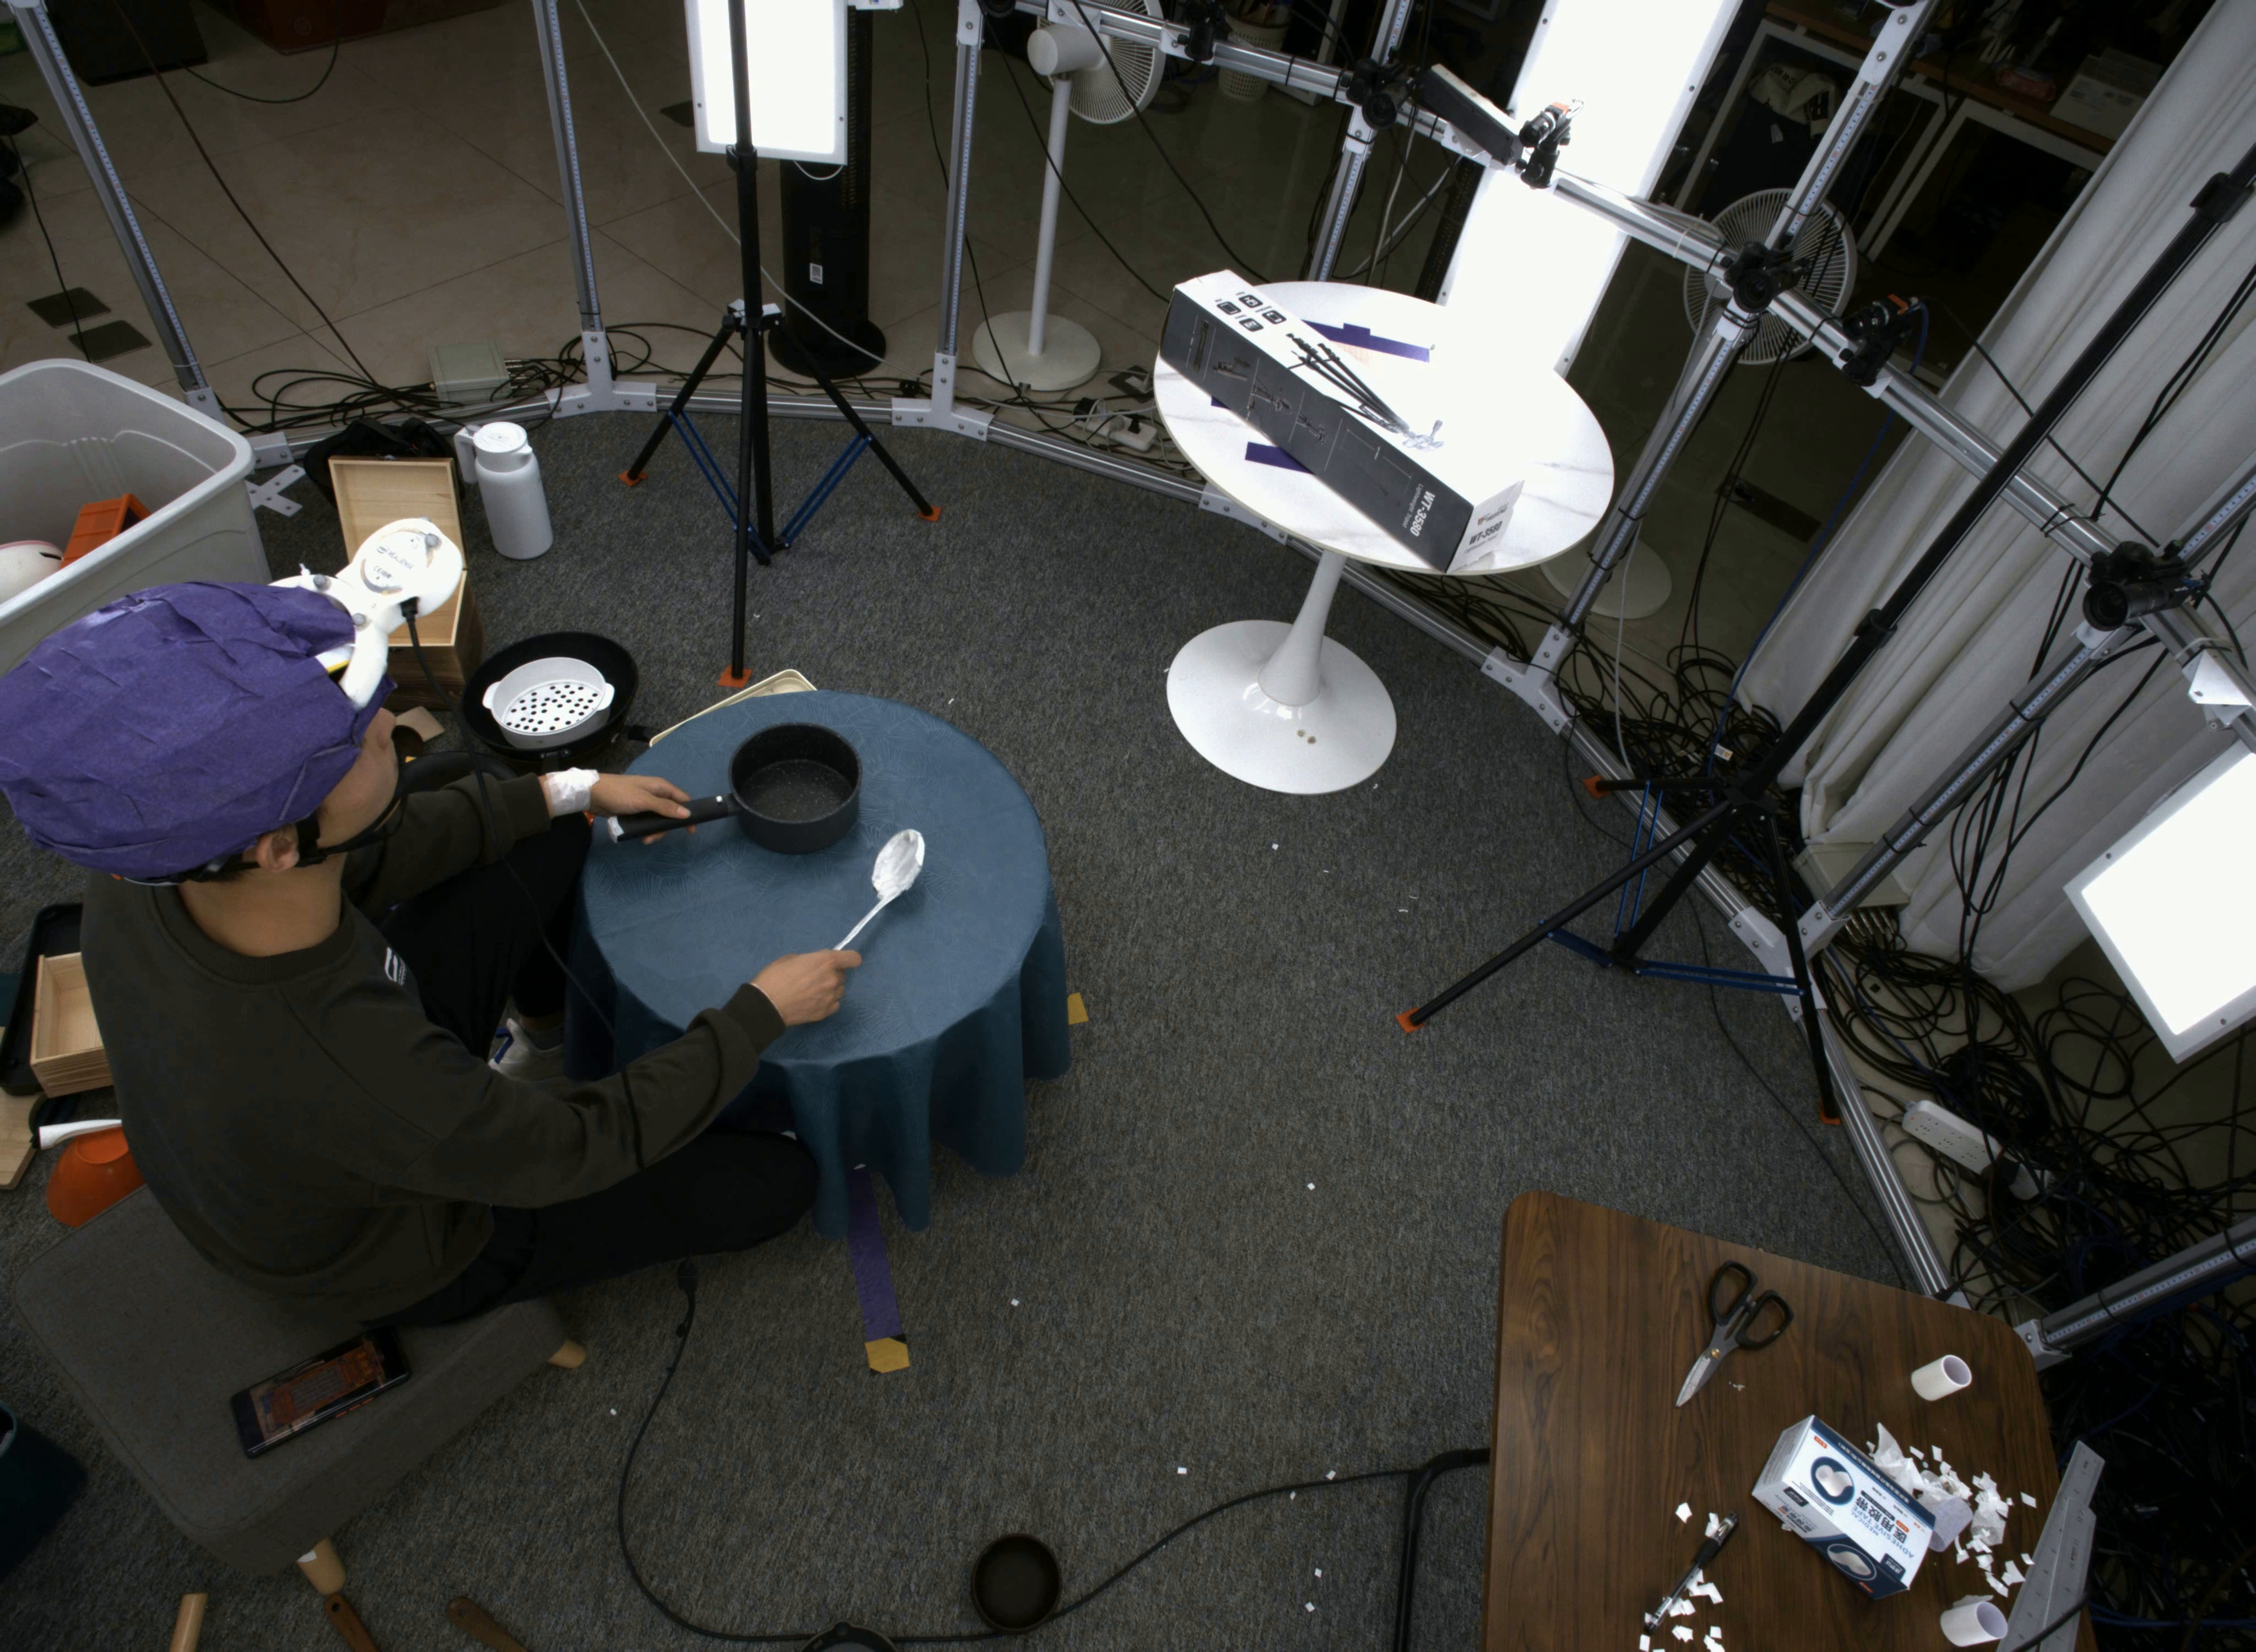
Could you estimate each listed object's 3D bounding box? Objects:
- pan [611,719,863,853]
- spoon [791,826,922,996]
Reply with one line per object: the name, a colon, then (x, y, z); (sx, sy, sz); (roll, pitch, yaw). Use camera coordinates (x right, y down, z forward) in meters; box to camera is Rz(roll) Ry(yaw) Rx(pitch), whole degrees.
pan: (-0.505, -0.030, 1.683); (0.330, 0.088, 0.167); (-18, 59, -26)
spoon: (-0.347, 0.101, 1.622); (0.061, 0.098, 0.276); (59, 44, -19)
